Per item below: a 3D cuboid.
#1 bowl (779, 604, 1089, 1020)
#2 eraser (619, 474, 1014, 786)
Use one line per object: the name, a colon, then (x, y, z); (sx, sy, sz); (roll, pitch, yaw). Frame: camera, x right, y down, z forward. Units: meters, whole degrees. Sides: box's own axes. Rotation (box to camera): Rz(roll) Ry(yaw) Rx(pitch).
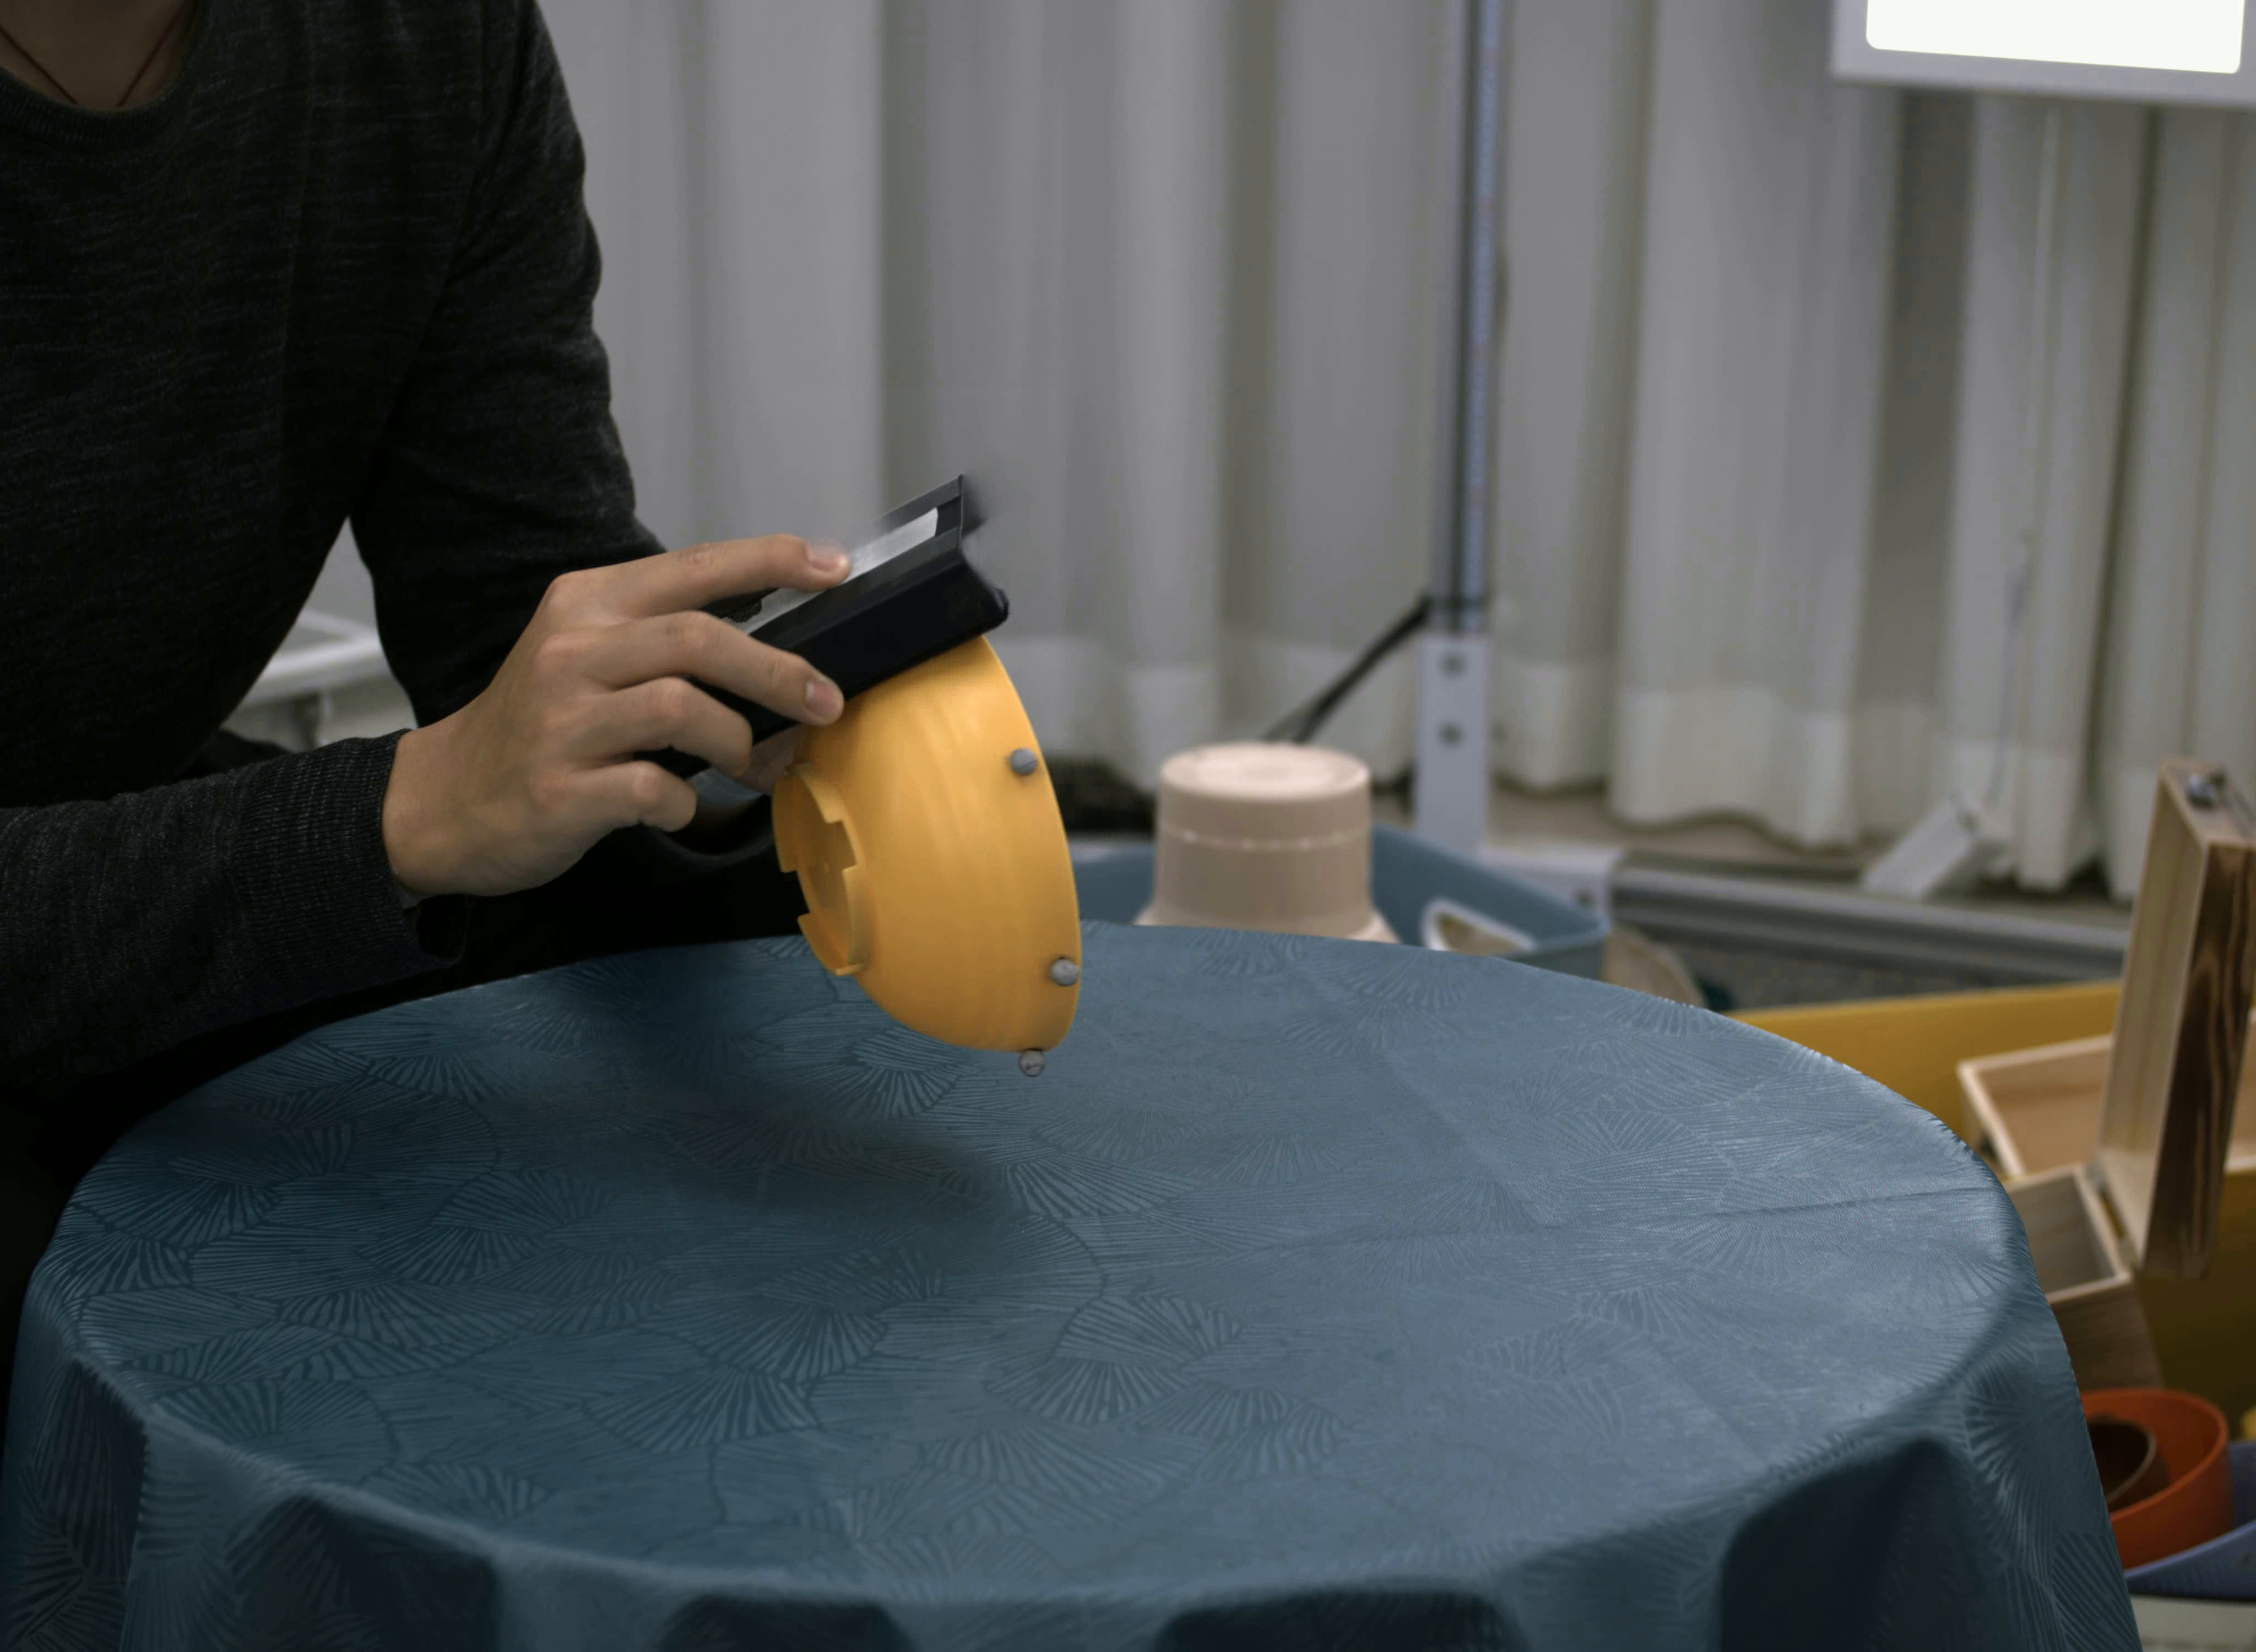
bowl: (-0.067, -0.004, 1.602); (0.060, 0.147, 0.143); (-15, 21, -20)
eraser: (-0.093, -0.060, 1.581); (0.125, 0.031, 0.053); (-27, 26, 13)
